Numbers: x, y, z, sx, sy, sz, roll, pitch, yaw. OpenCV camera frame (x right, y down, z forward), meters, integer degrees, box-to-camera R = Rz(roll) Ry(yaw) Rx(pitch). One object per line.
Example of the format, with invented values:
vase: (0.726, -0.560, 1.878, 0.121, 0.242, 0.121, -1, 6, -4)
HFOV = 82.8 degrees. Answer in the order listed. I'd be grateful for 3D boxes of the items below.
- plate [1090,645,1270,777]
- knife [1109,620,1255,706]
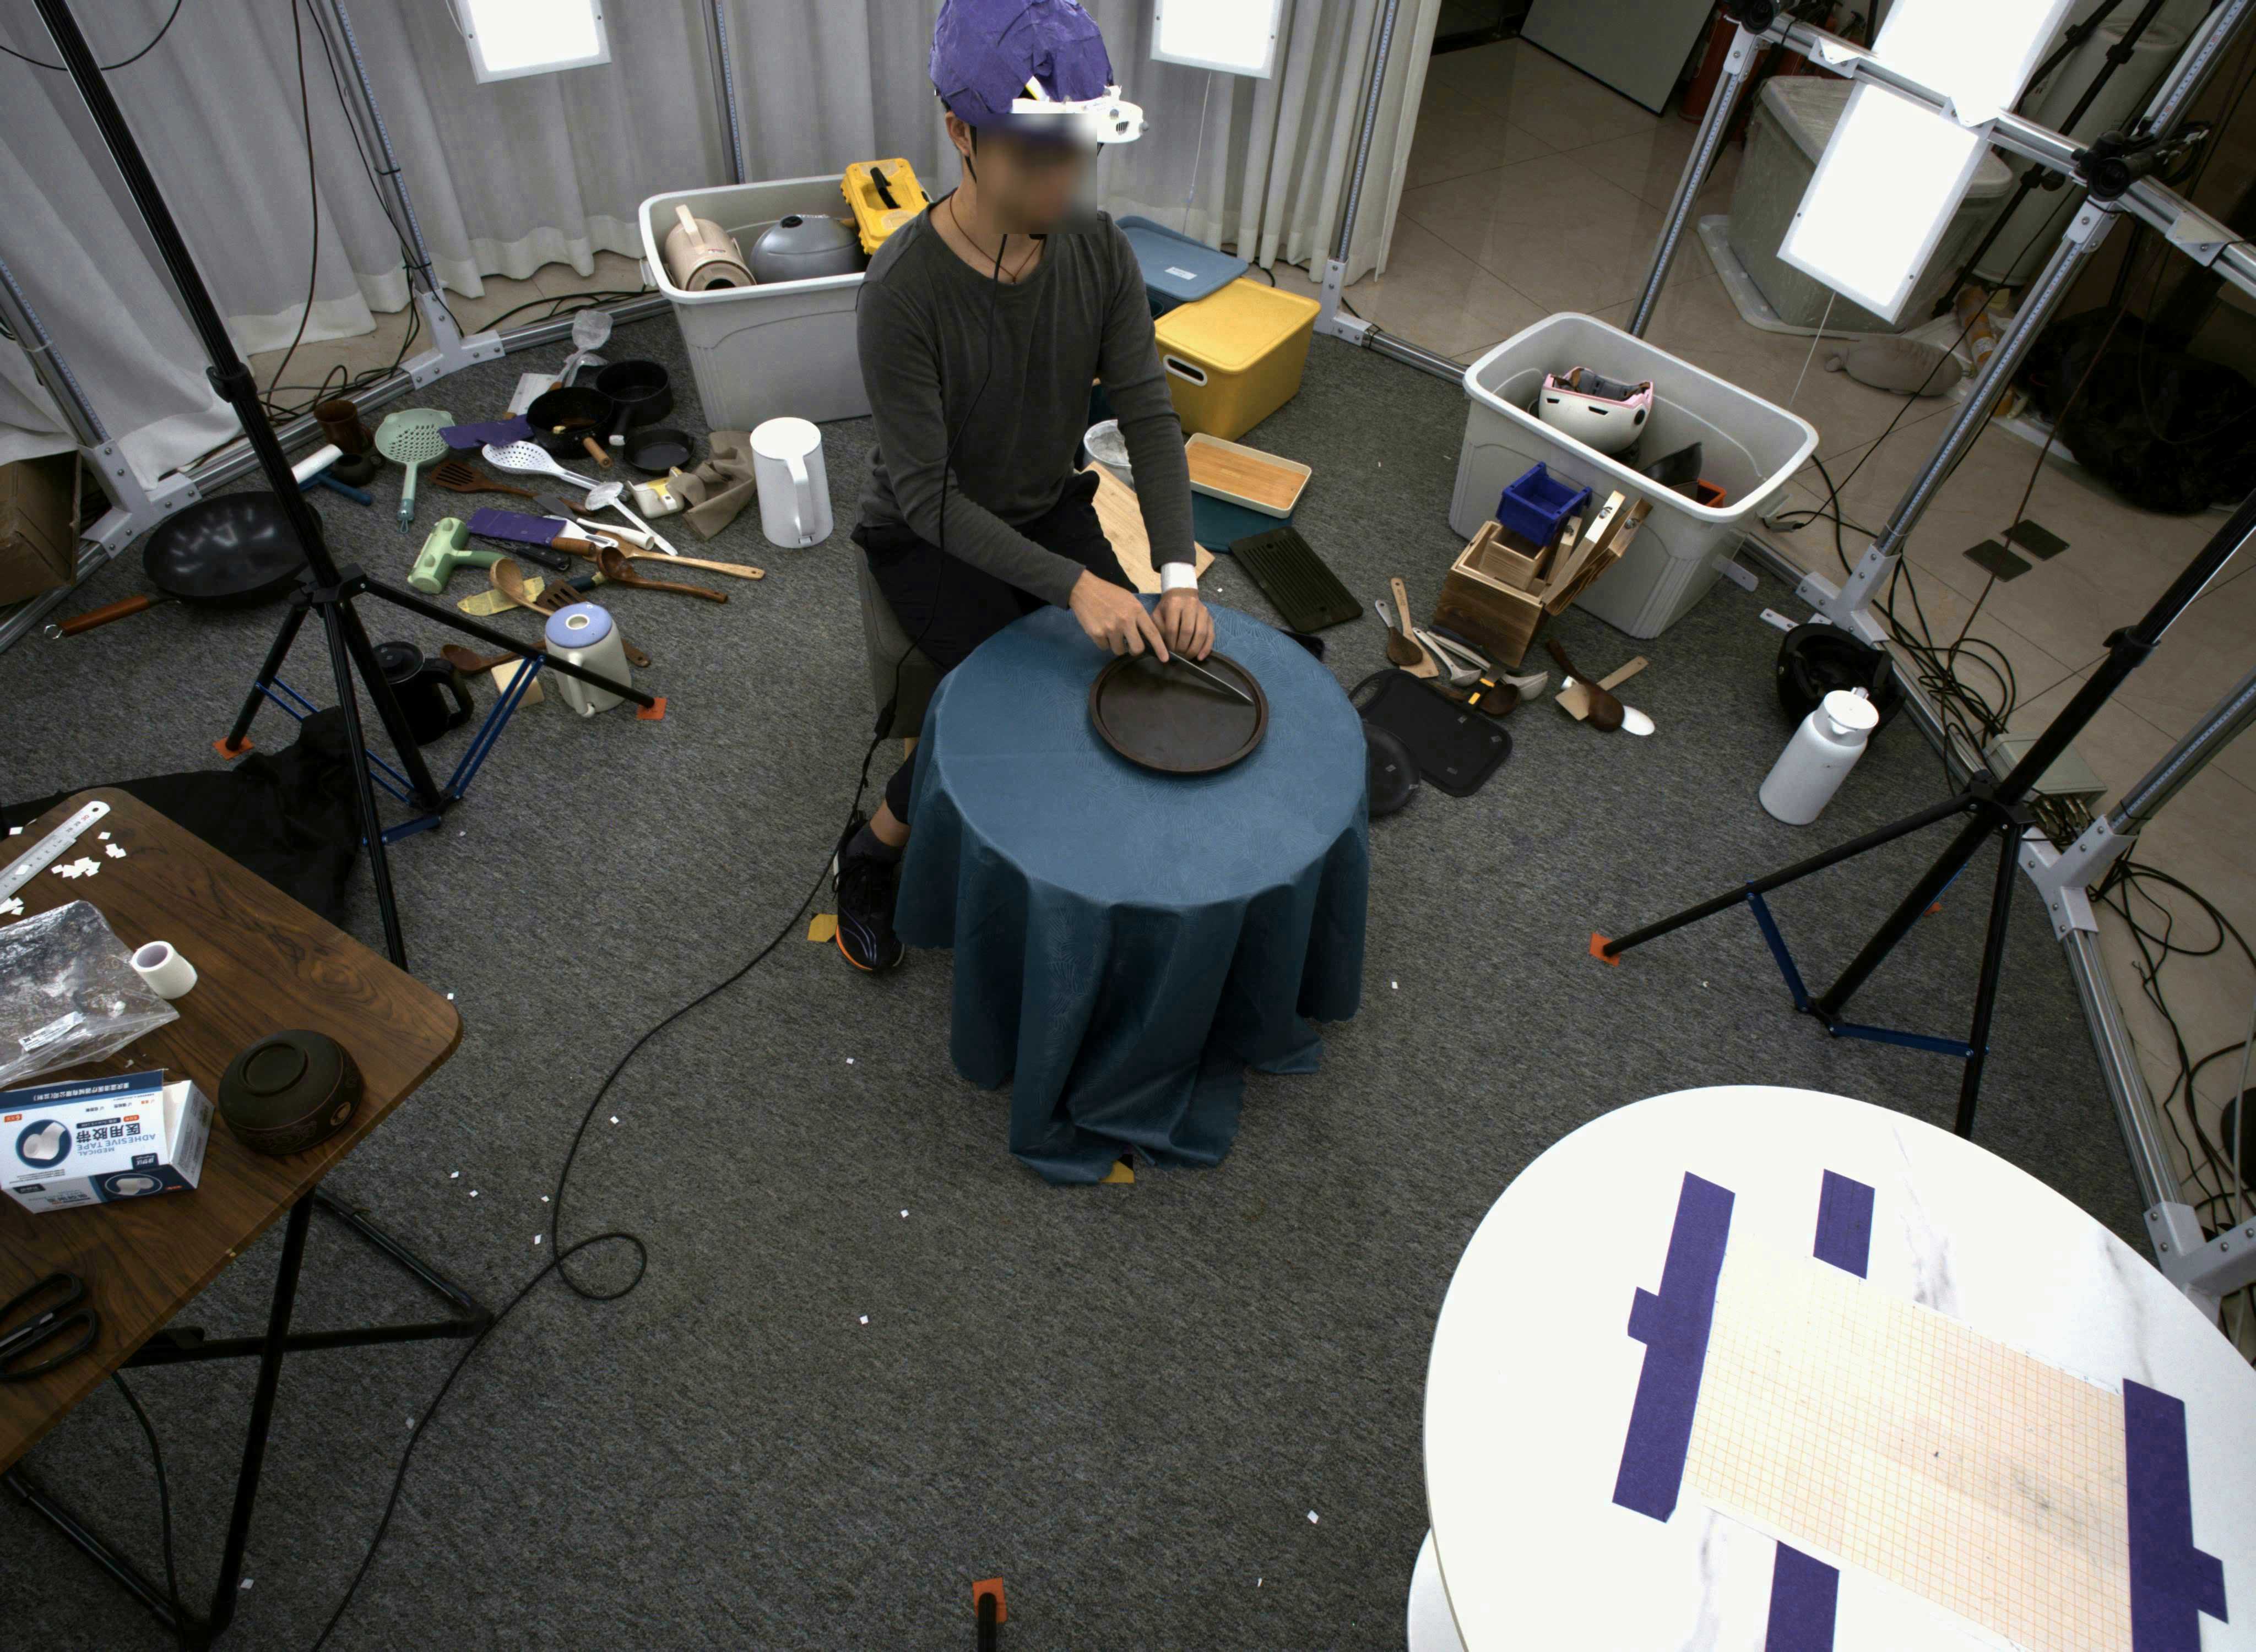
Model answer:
plate: (0.072, -0.163, 1.799, 0.254, 0.028, 0.261, 2, 50, -3)
knife: (0.078, -0.231, 1.823, 0.239, 0.024, 0.016, 30, 48, 6)
